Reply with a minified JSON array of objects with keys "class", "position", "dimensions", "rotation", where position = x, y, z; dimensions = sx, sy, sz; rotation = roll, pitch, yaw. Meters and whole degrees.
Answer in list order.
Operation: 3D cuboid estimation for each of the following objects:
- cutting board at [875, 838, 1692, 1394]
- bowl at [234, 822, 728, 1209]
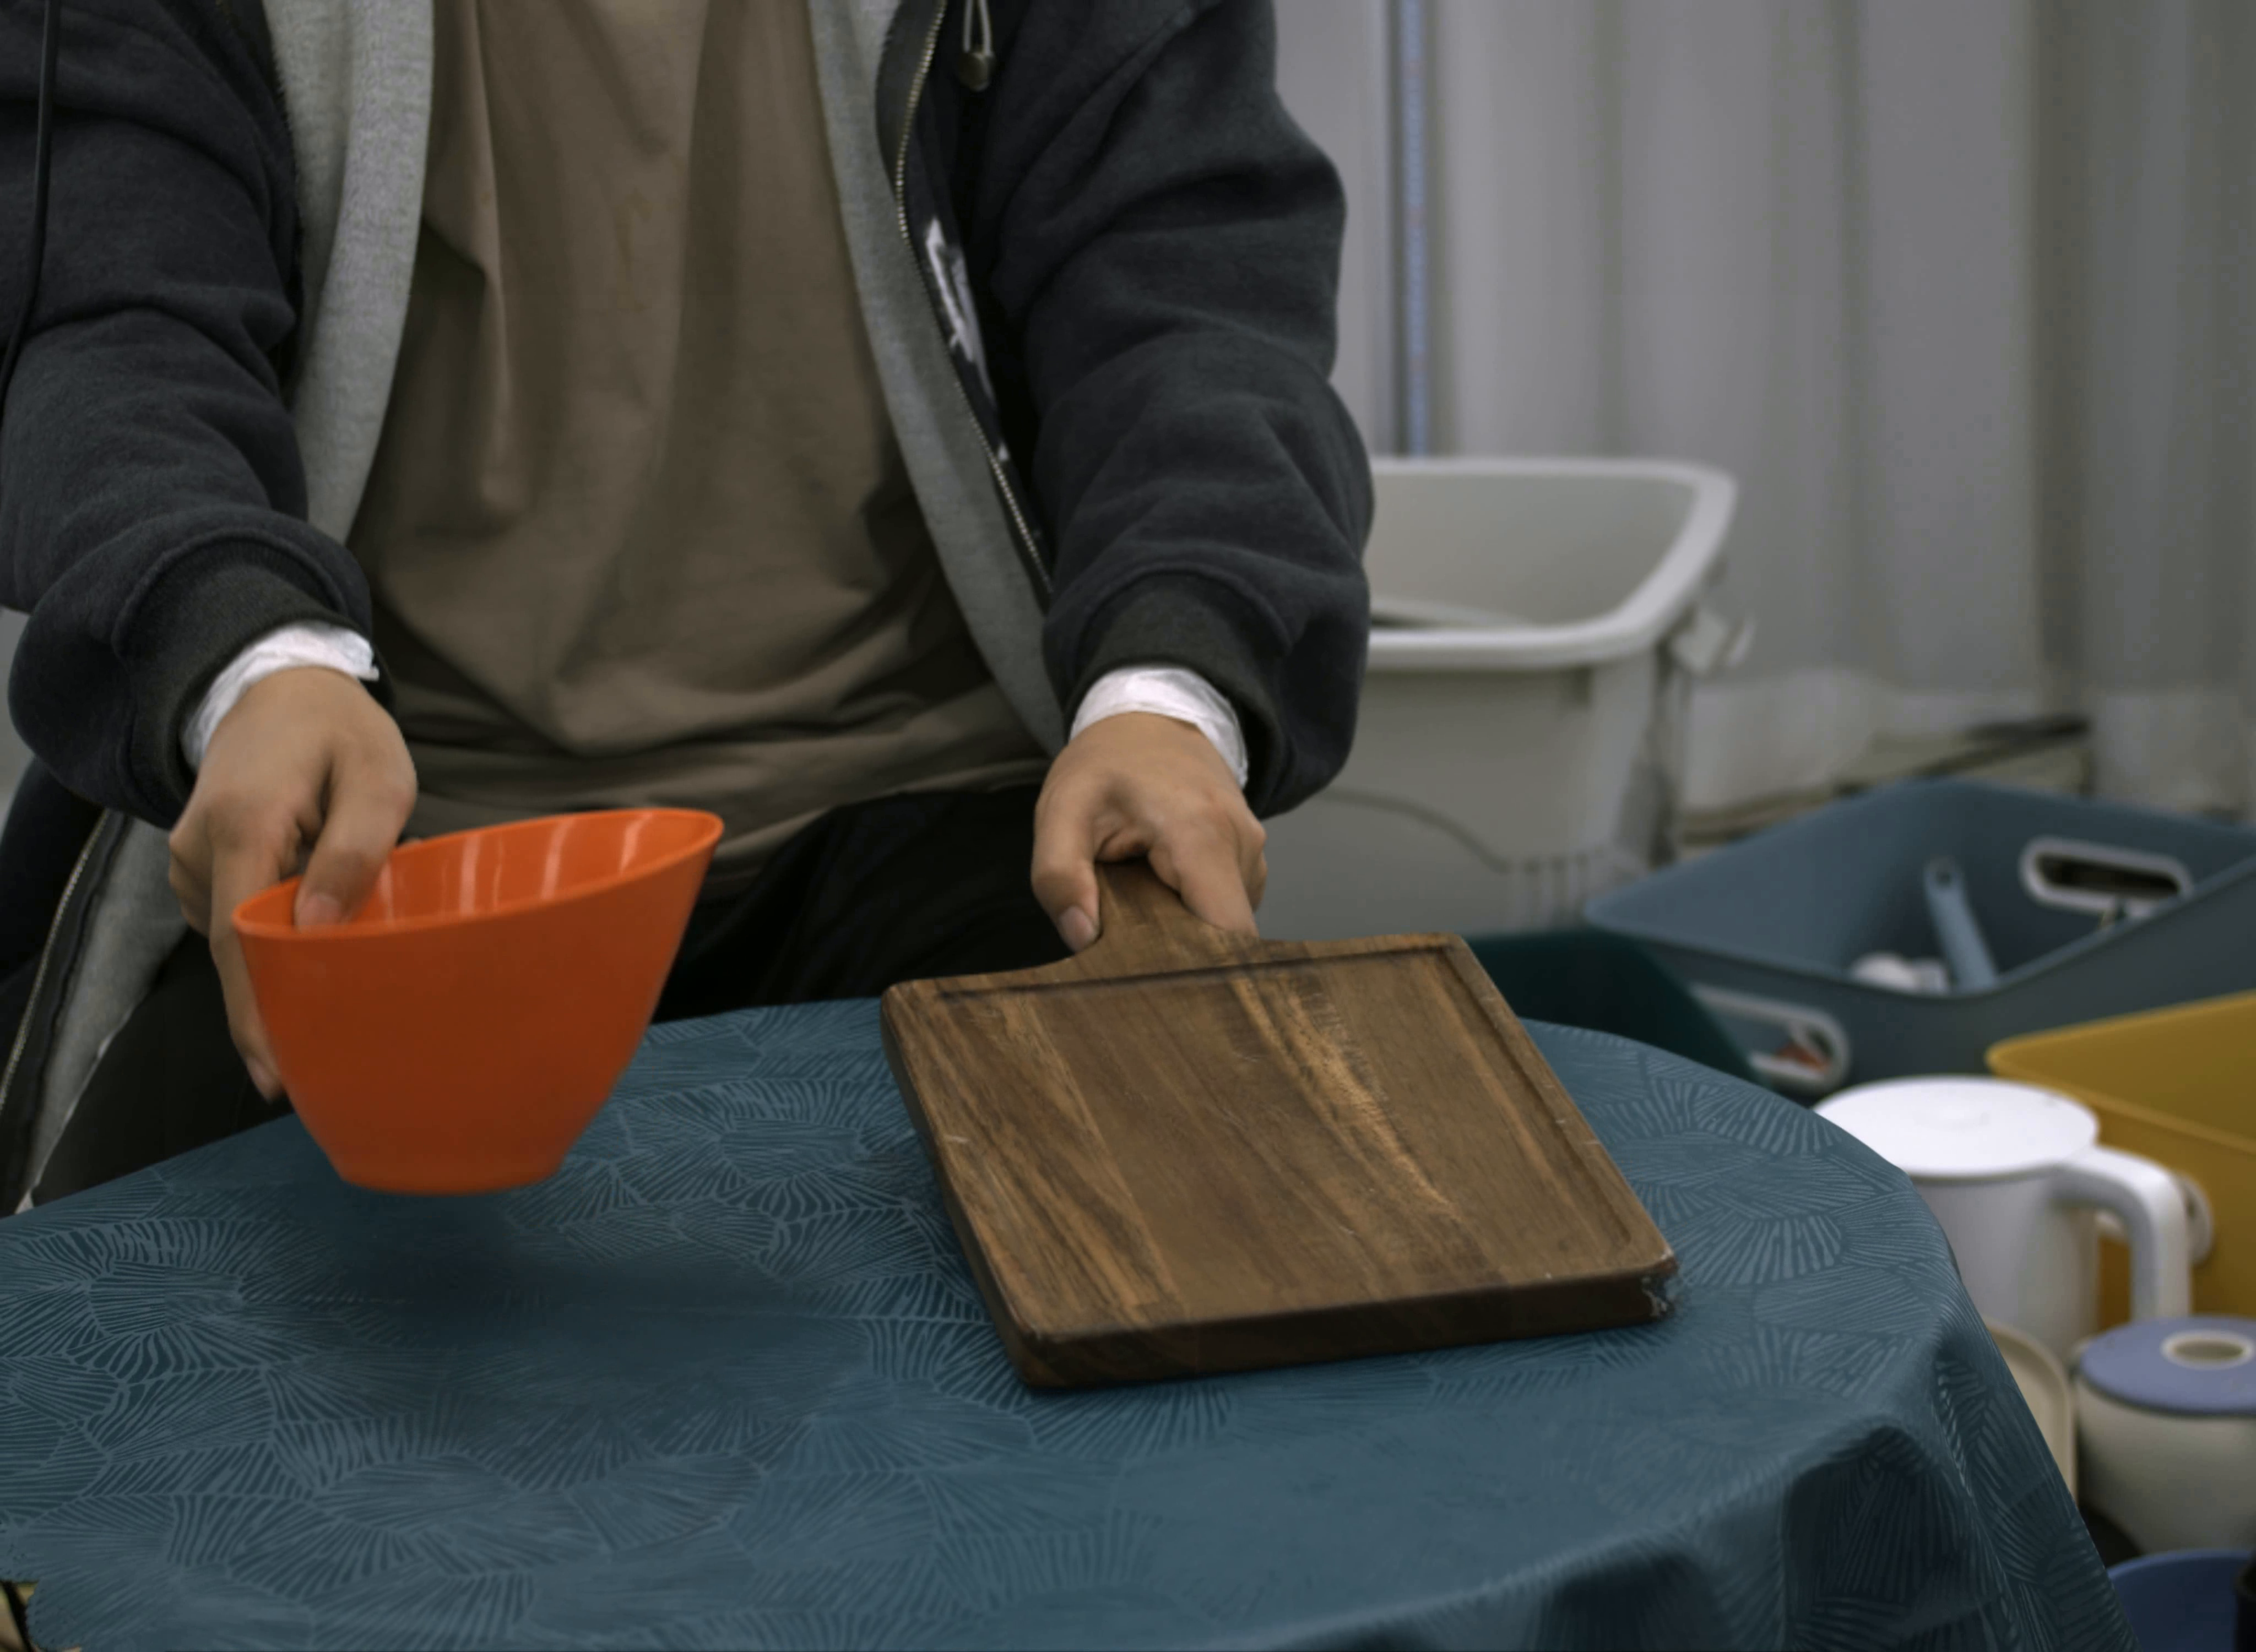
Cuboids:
[{"class":"cutting board","position":[0.030,0.079,1.714],"dimensions":[0.200,0.023,0.356],"rotation":[-6,23,-11]},{"class":"bowl","position":[-0.192,0.057,1.639],"dimensions":[0.147,0.104,0.148],"rotation":[0,9,0]}]
